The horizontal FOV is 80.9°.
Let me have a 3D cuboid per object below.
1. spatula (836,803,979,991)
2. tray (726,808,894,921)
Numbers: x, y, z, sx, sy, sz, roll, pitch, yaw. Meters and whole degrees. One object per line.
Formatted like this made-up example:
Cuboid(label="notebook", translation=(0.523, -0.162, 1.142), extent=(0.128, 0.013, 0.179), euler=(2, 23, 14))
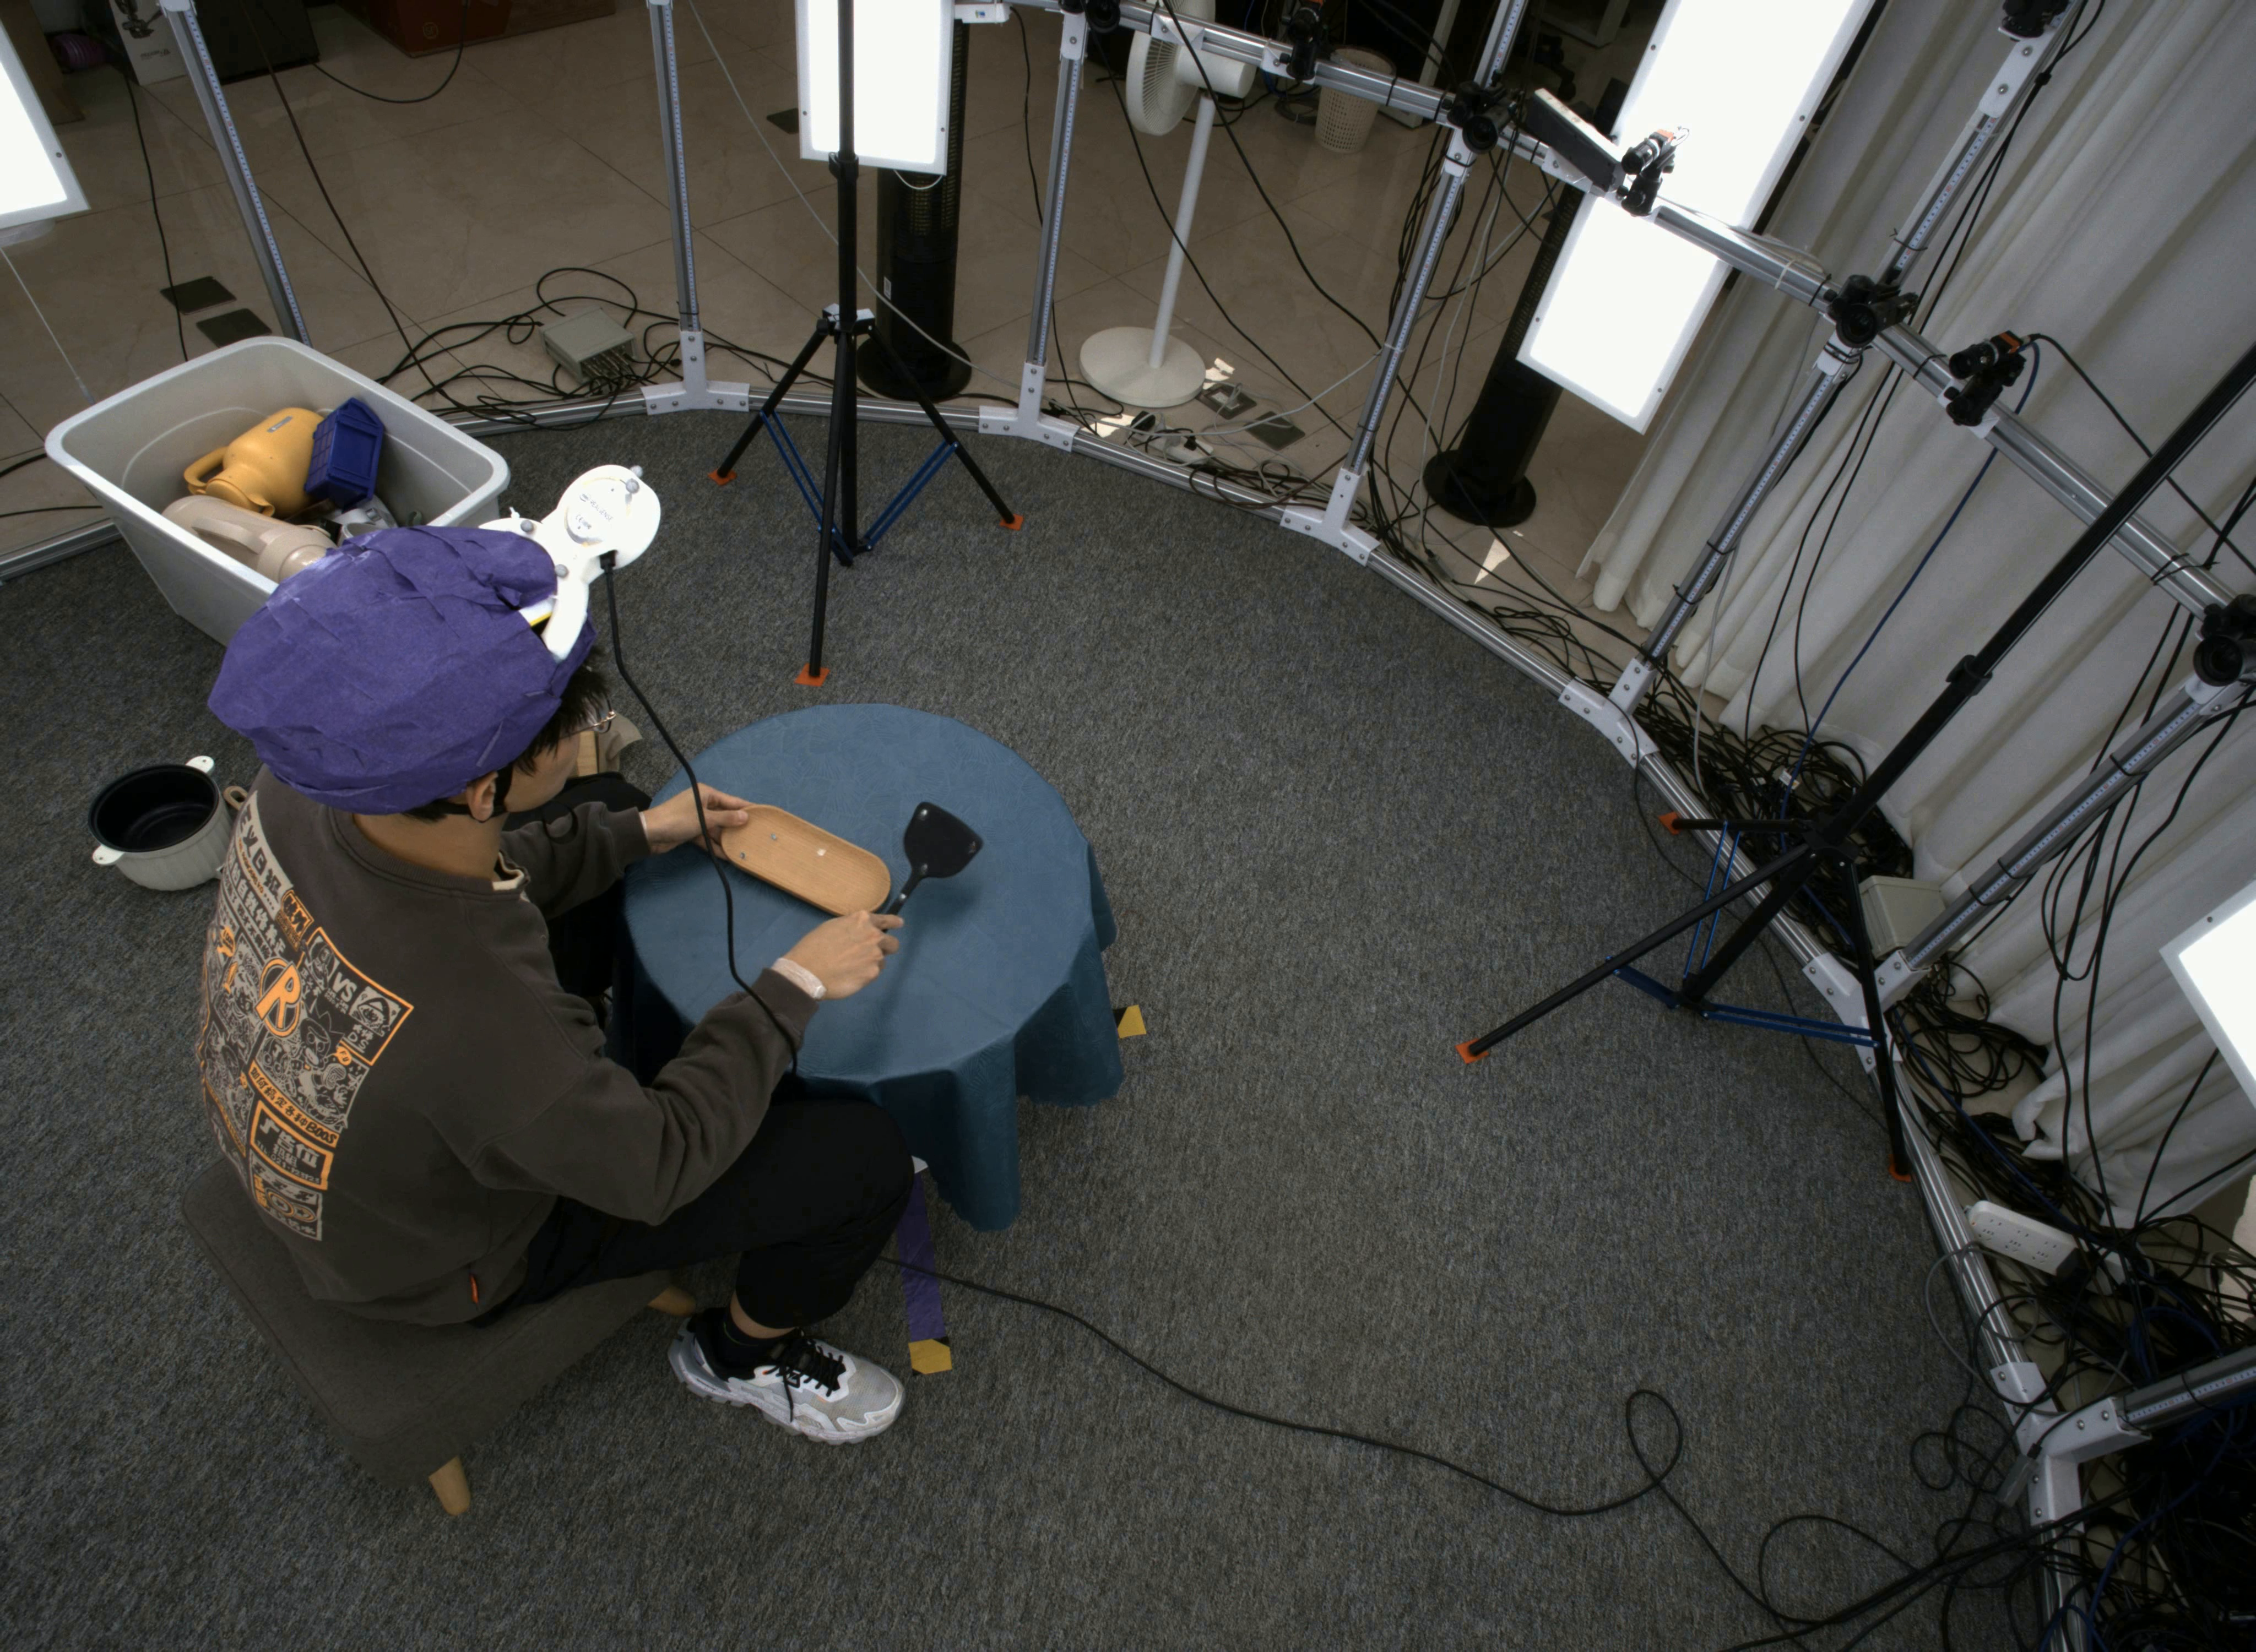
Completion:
Cuboid(label="spatula", translation=(-0.277, 0.086, 1.575), extent=(0.100, 0.040, 0.322), euler=(35, 35, -7))
Cuboid(label="tray", translation=(-0.413, 0.049, 1.684), extent=(0.230, 0.020, 0.101), euler=(26, 56, -1))
